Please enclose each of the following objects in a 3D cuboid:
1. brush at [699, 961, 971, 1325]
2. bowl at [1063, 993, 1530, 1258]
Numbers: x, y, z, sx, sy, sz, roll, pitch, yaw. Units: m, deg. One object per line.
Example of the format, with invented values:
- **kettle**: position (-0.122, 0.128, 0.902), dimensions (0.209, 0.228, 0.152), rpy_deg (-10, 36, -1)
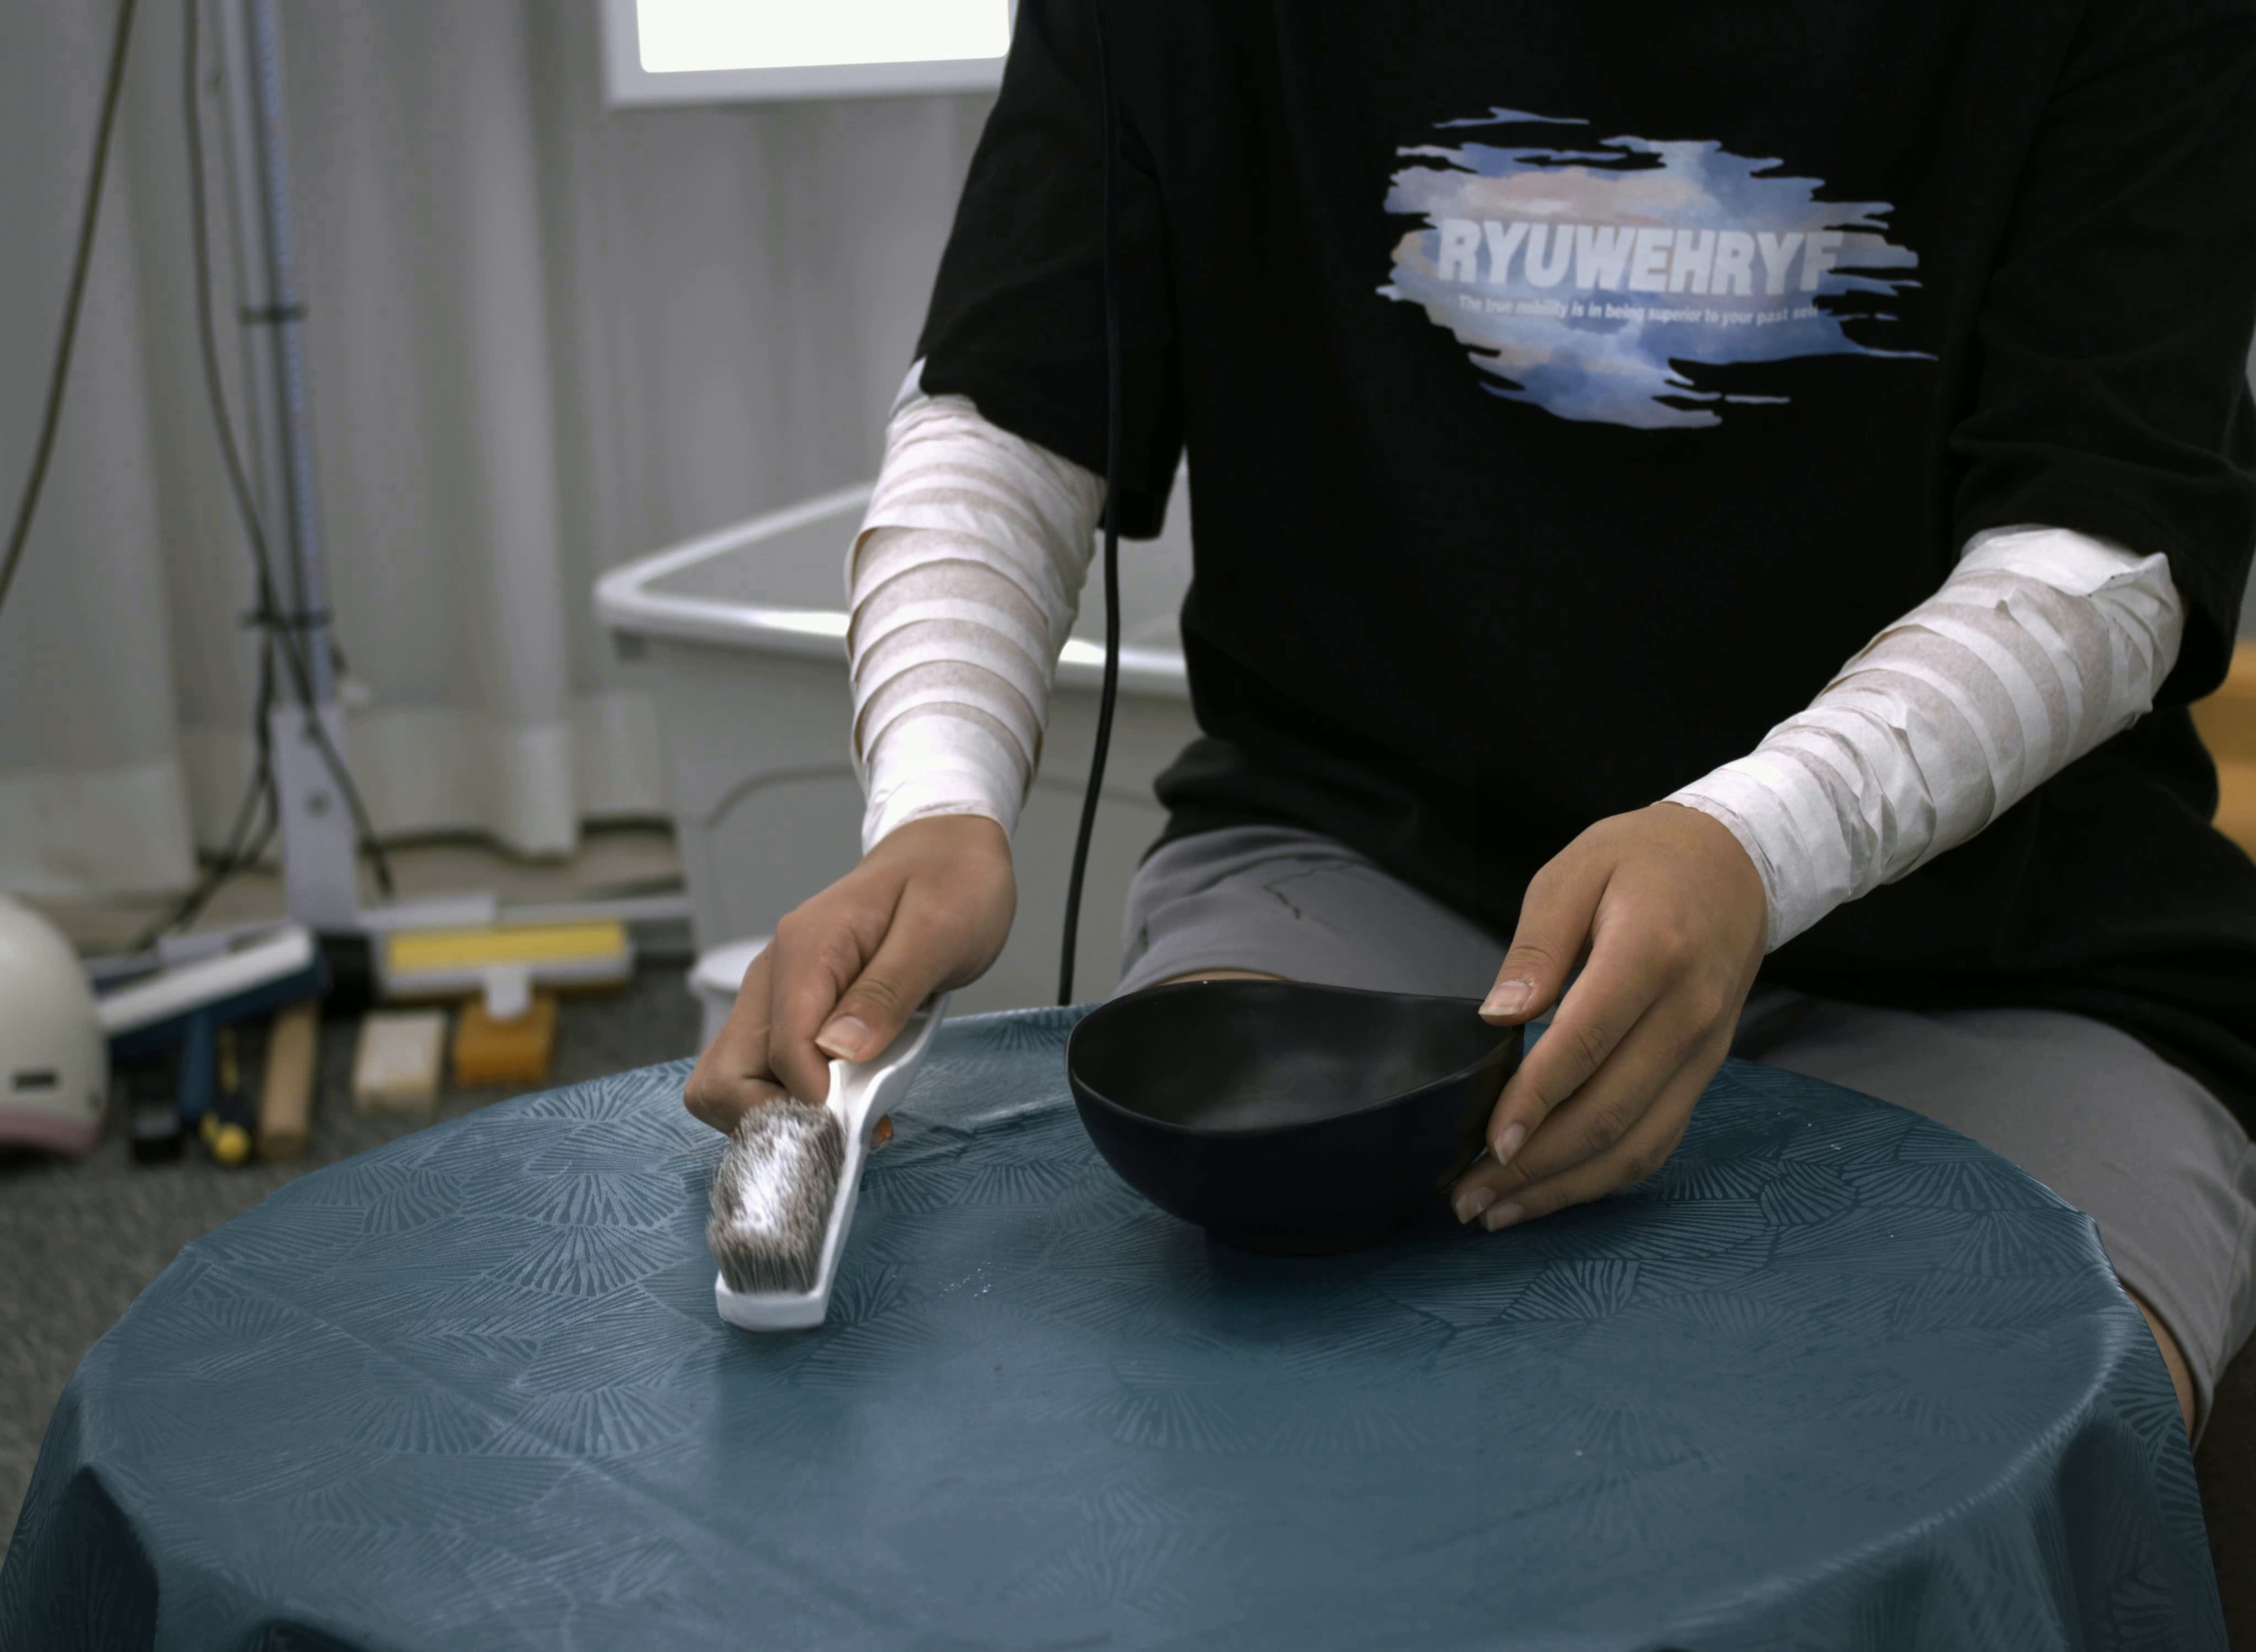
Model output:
- **brush**: position (-0.086, 0.079, 1.689), dimensions (0.034, 0.050, 0.246), rpy_deg (3, 24, 11)
- **bowl**: position (0.053, 0.092, 1.668), dimensions (0.137, 0.066, 0.170), rpy_deg (4, 14, 23)
